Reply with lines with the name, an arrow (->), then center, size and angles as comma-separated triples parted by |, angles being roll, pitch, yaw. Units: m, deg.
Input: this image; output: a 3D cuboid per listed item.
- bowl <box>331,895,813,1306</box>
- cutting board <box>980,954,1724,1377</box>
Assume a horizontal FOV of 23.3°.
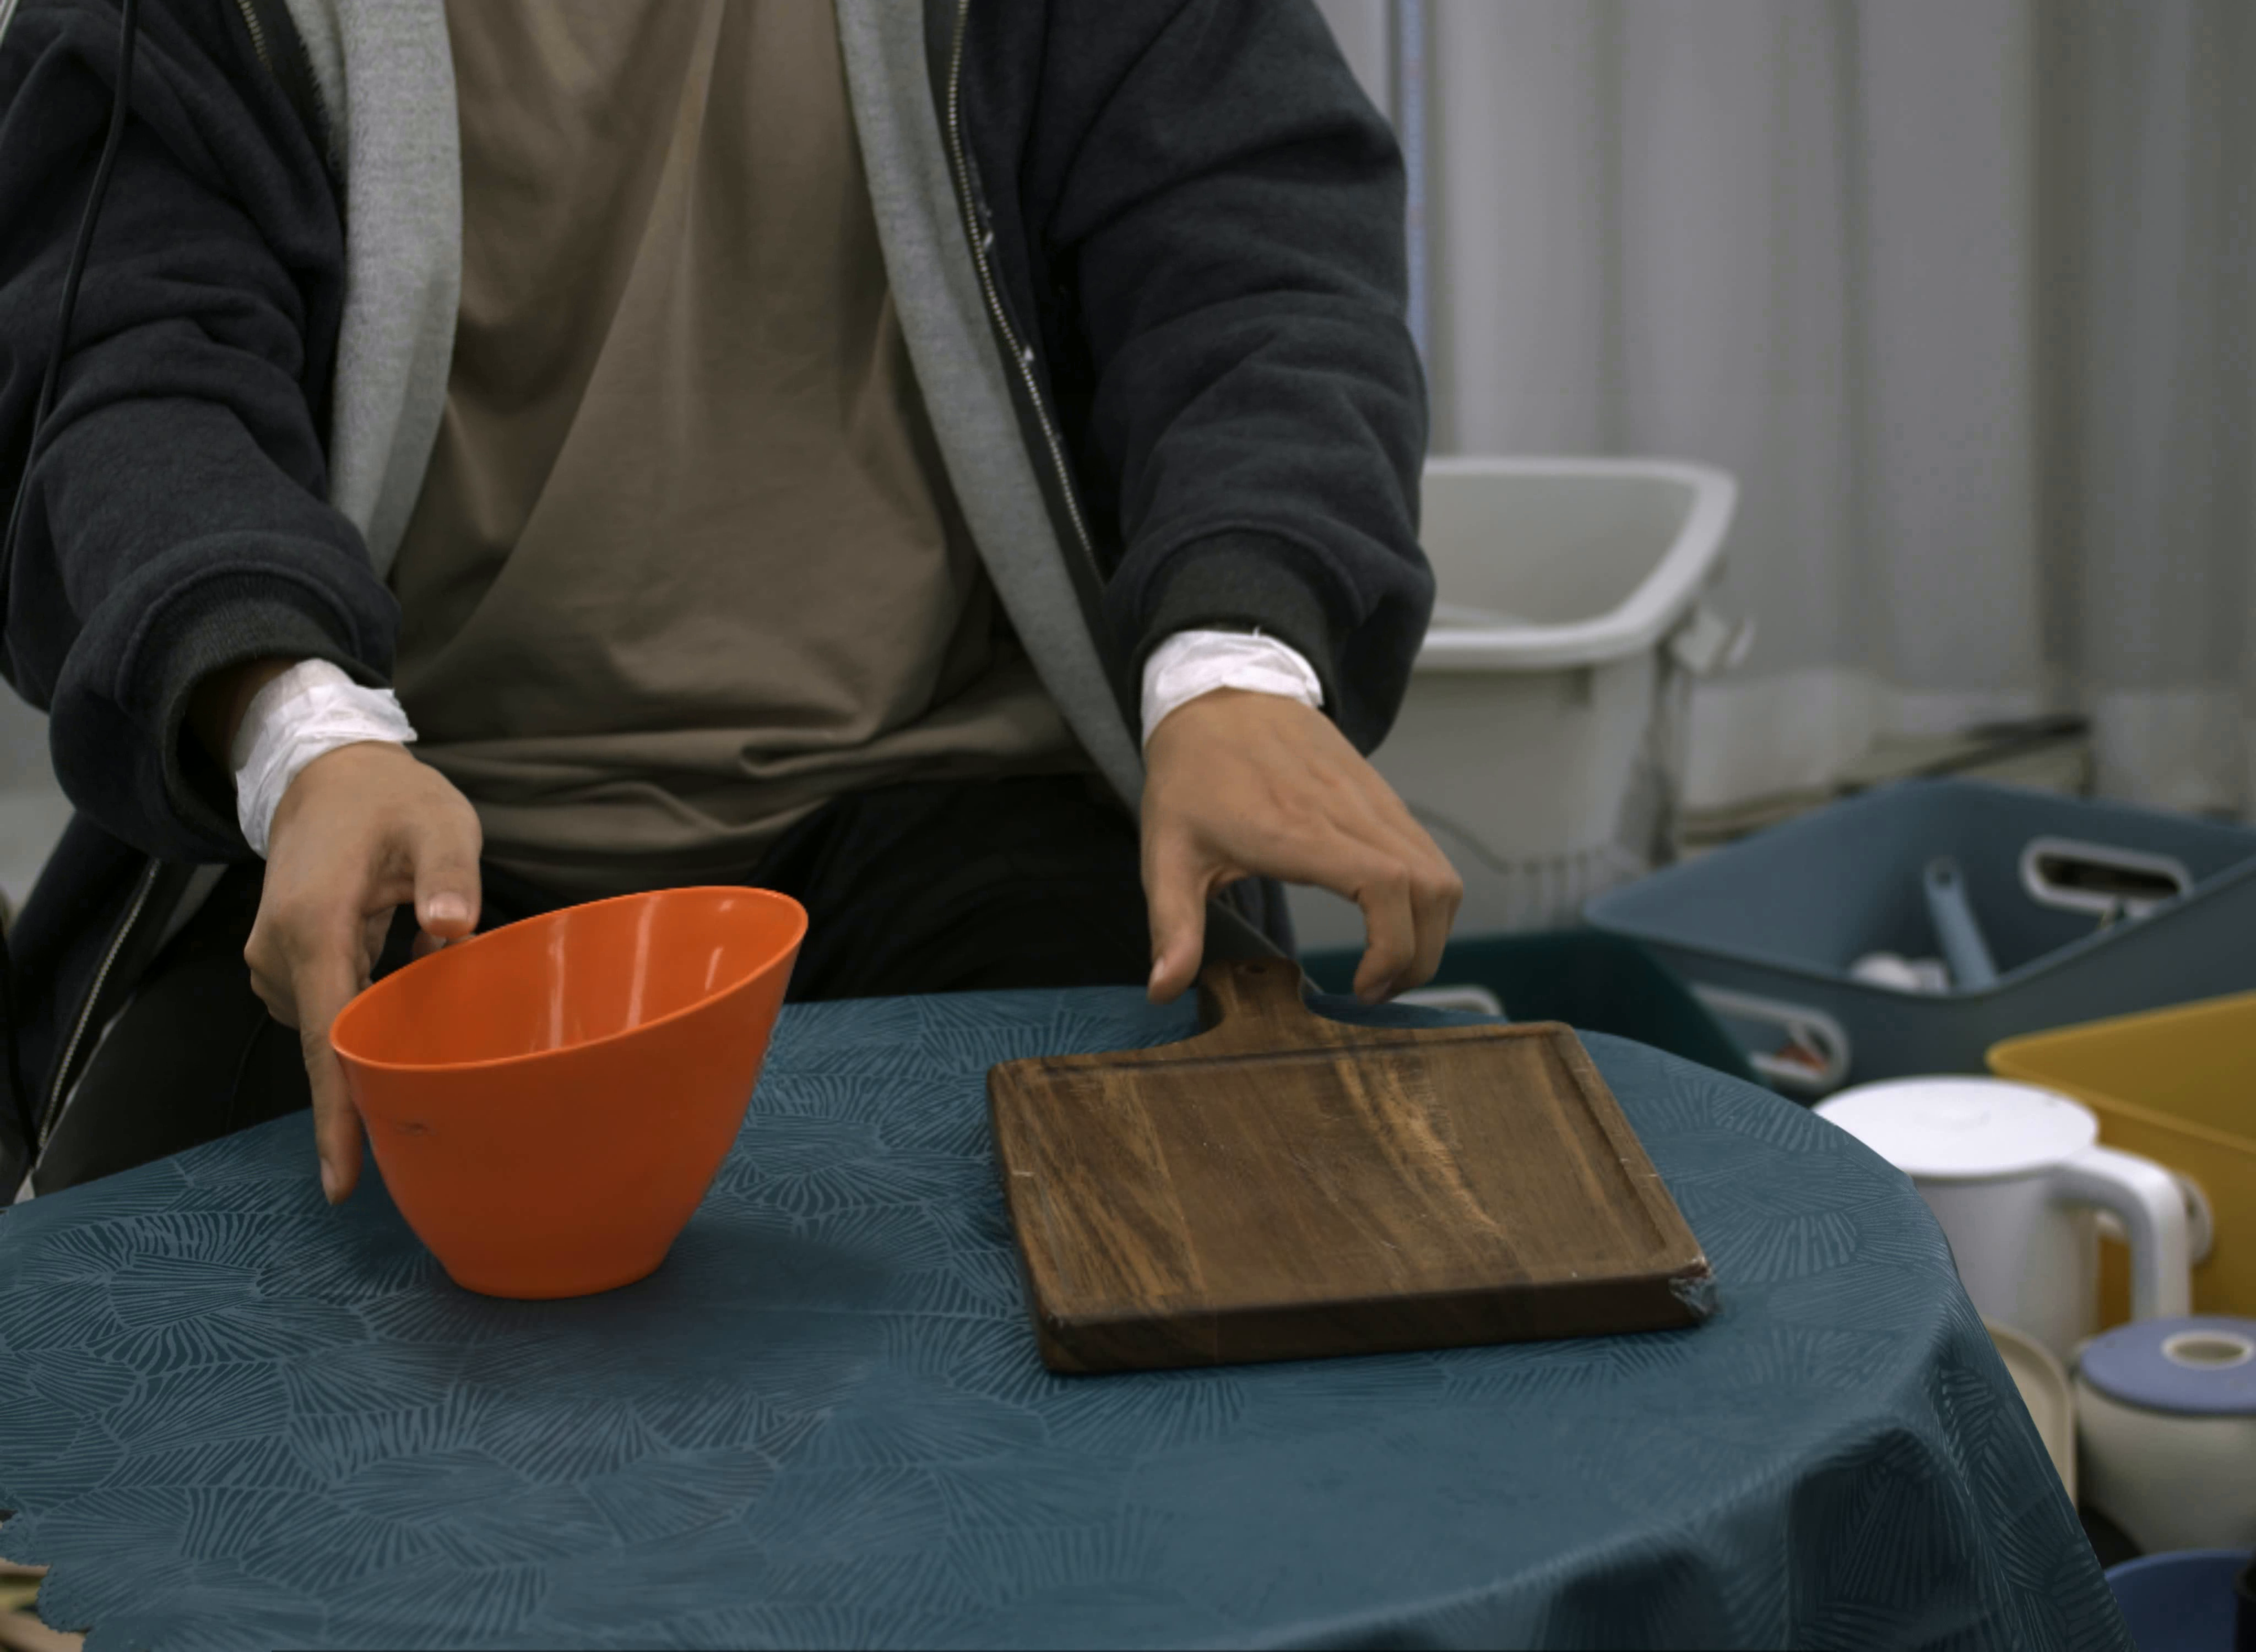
bowl -> -0.166, 0.086, 1.664 | 0.147, 0.104, 0.149 | -3, 14, 0
cutting board -> 0.057, 0.098, 1.729 | 0.200, 0.023, 0.355 | -4, 15, -4
